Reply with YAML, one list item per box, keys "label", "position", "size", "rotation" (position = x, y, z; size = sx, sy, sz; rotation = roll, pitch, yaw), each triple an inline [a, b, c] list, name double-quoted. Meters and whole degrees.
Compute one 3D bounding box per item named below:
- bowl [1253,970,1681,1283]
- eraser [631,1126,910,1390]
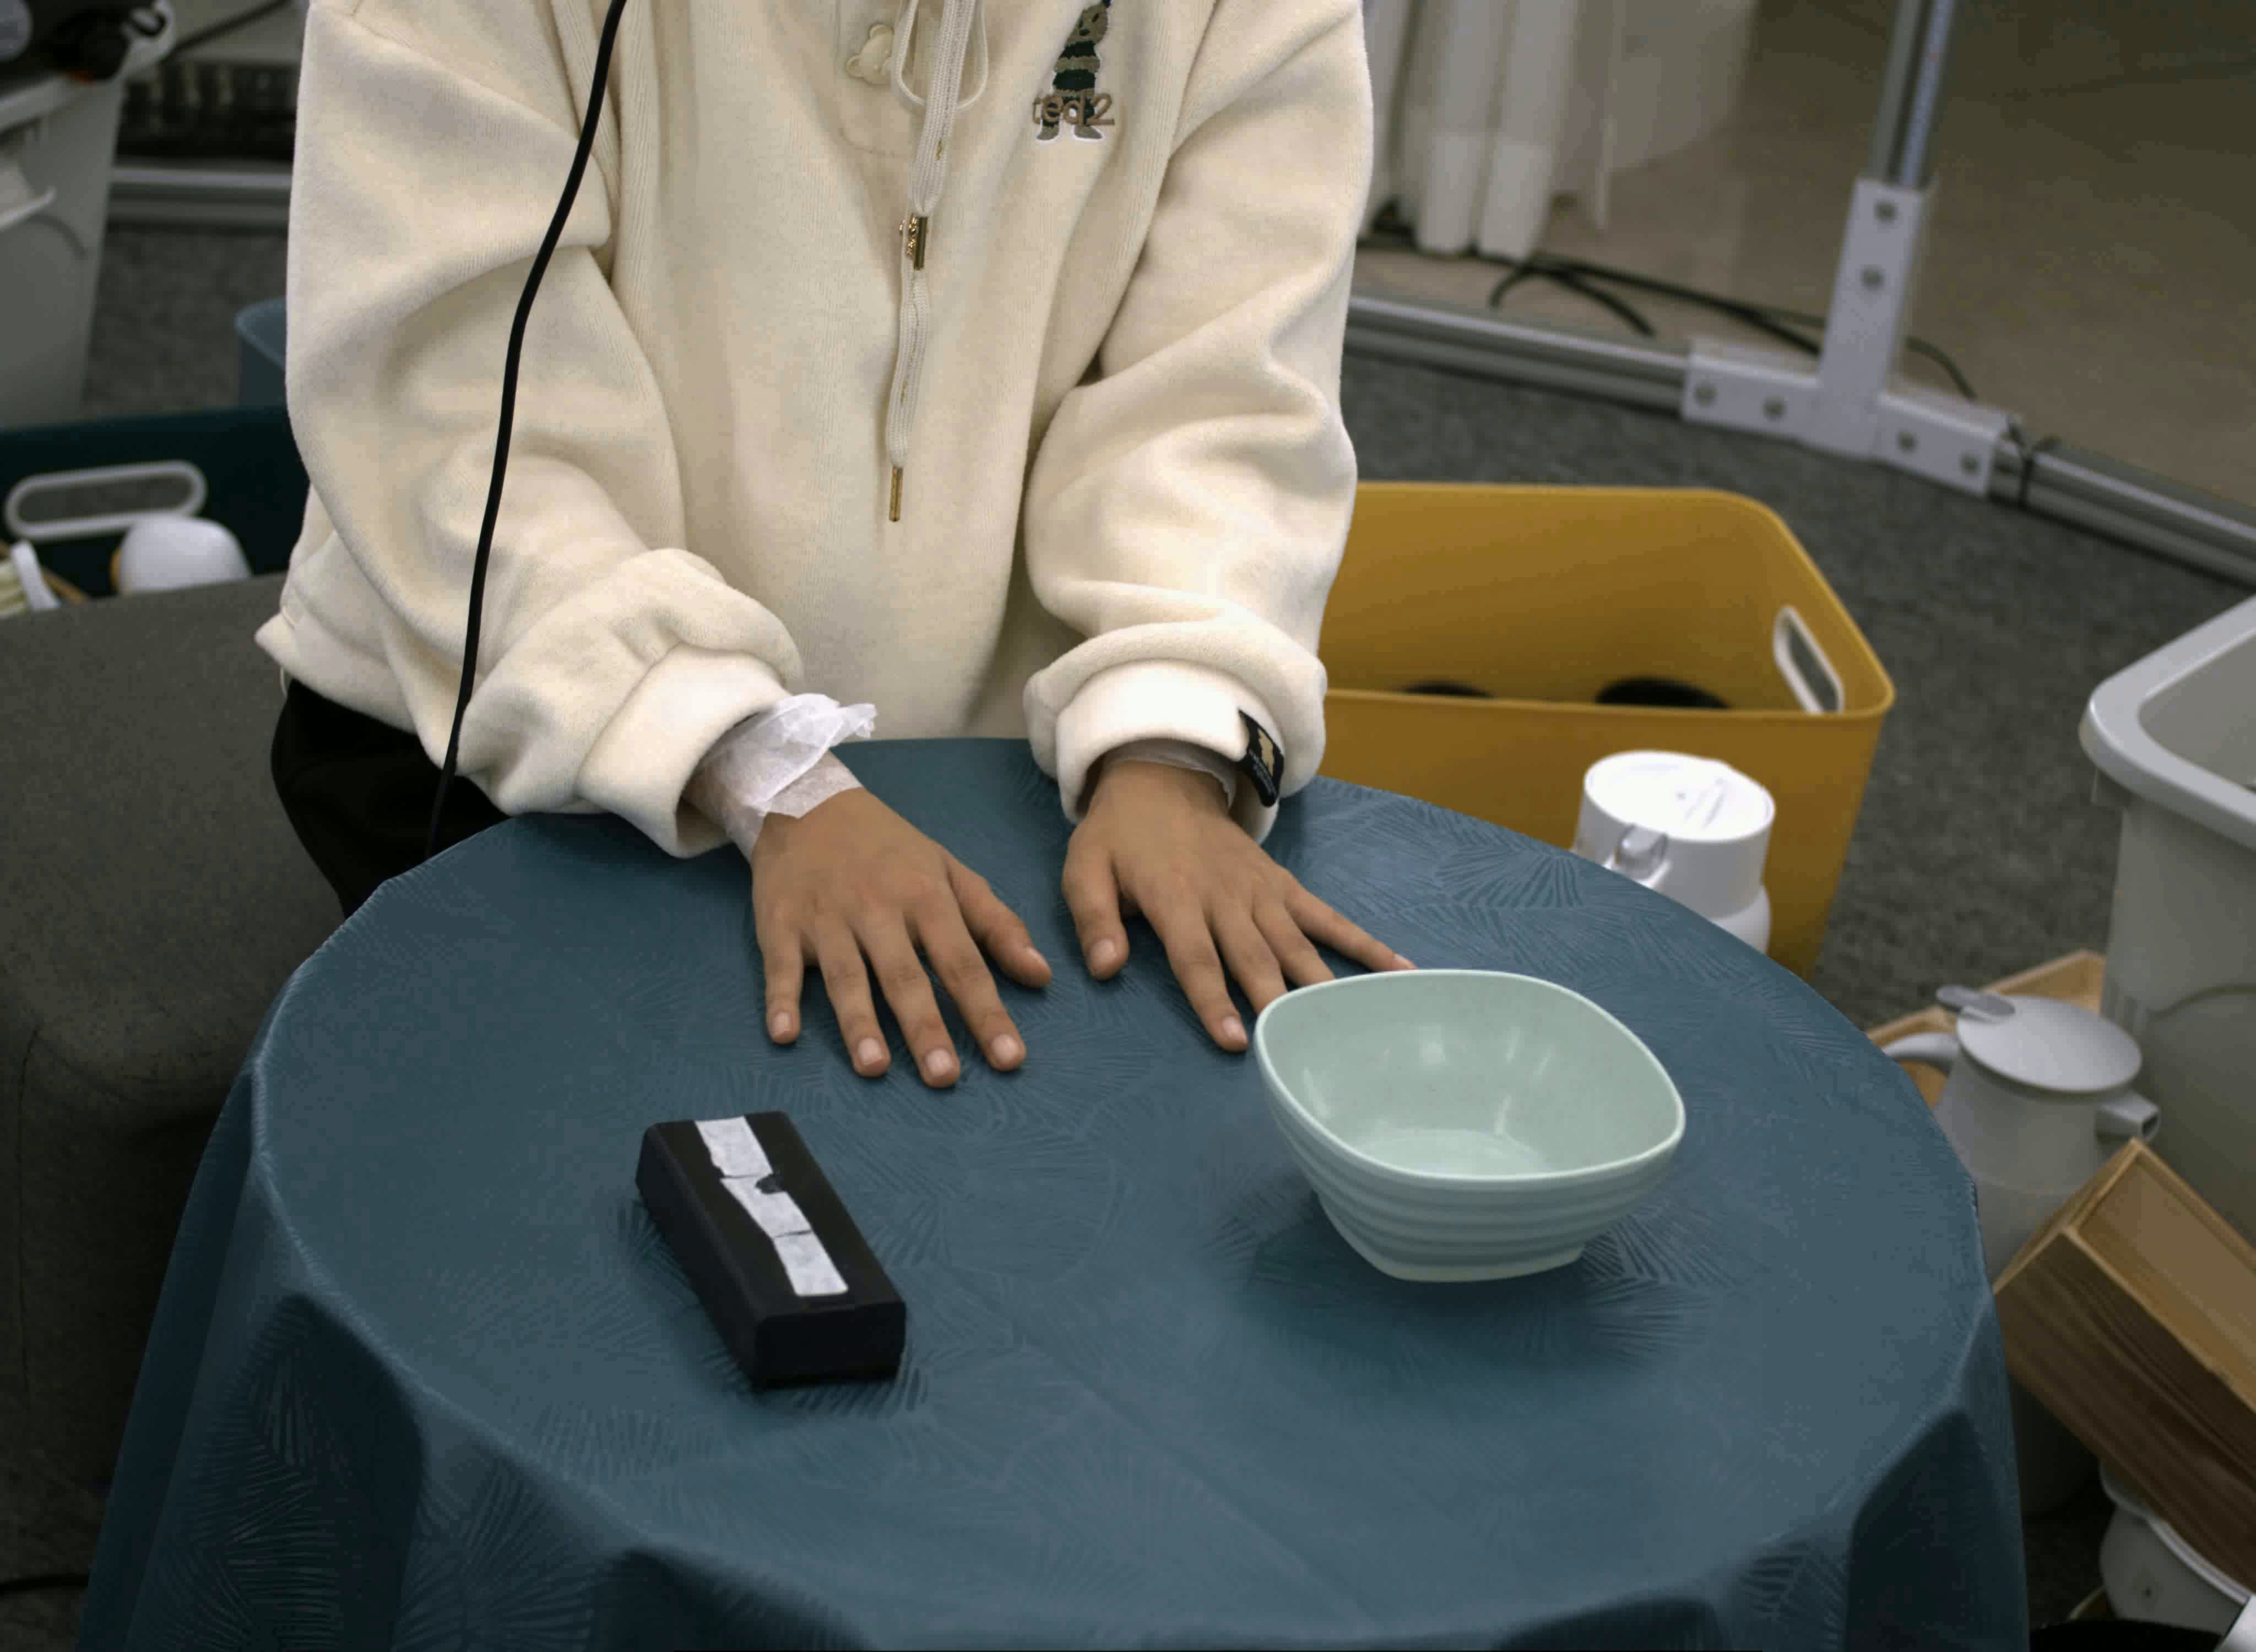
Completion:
- label: "bowl"
  position: [0.109, 0.108, 1.797]
  size: [0.151, 0.058, 0.152]
  rotation: [8, 26, -4]
- label: "eraser"
  position: [-0.117, 0.138, 1.718]
  size: [0.053, 0.030, 0.126]
  rotation: [-4, 26, -23]
